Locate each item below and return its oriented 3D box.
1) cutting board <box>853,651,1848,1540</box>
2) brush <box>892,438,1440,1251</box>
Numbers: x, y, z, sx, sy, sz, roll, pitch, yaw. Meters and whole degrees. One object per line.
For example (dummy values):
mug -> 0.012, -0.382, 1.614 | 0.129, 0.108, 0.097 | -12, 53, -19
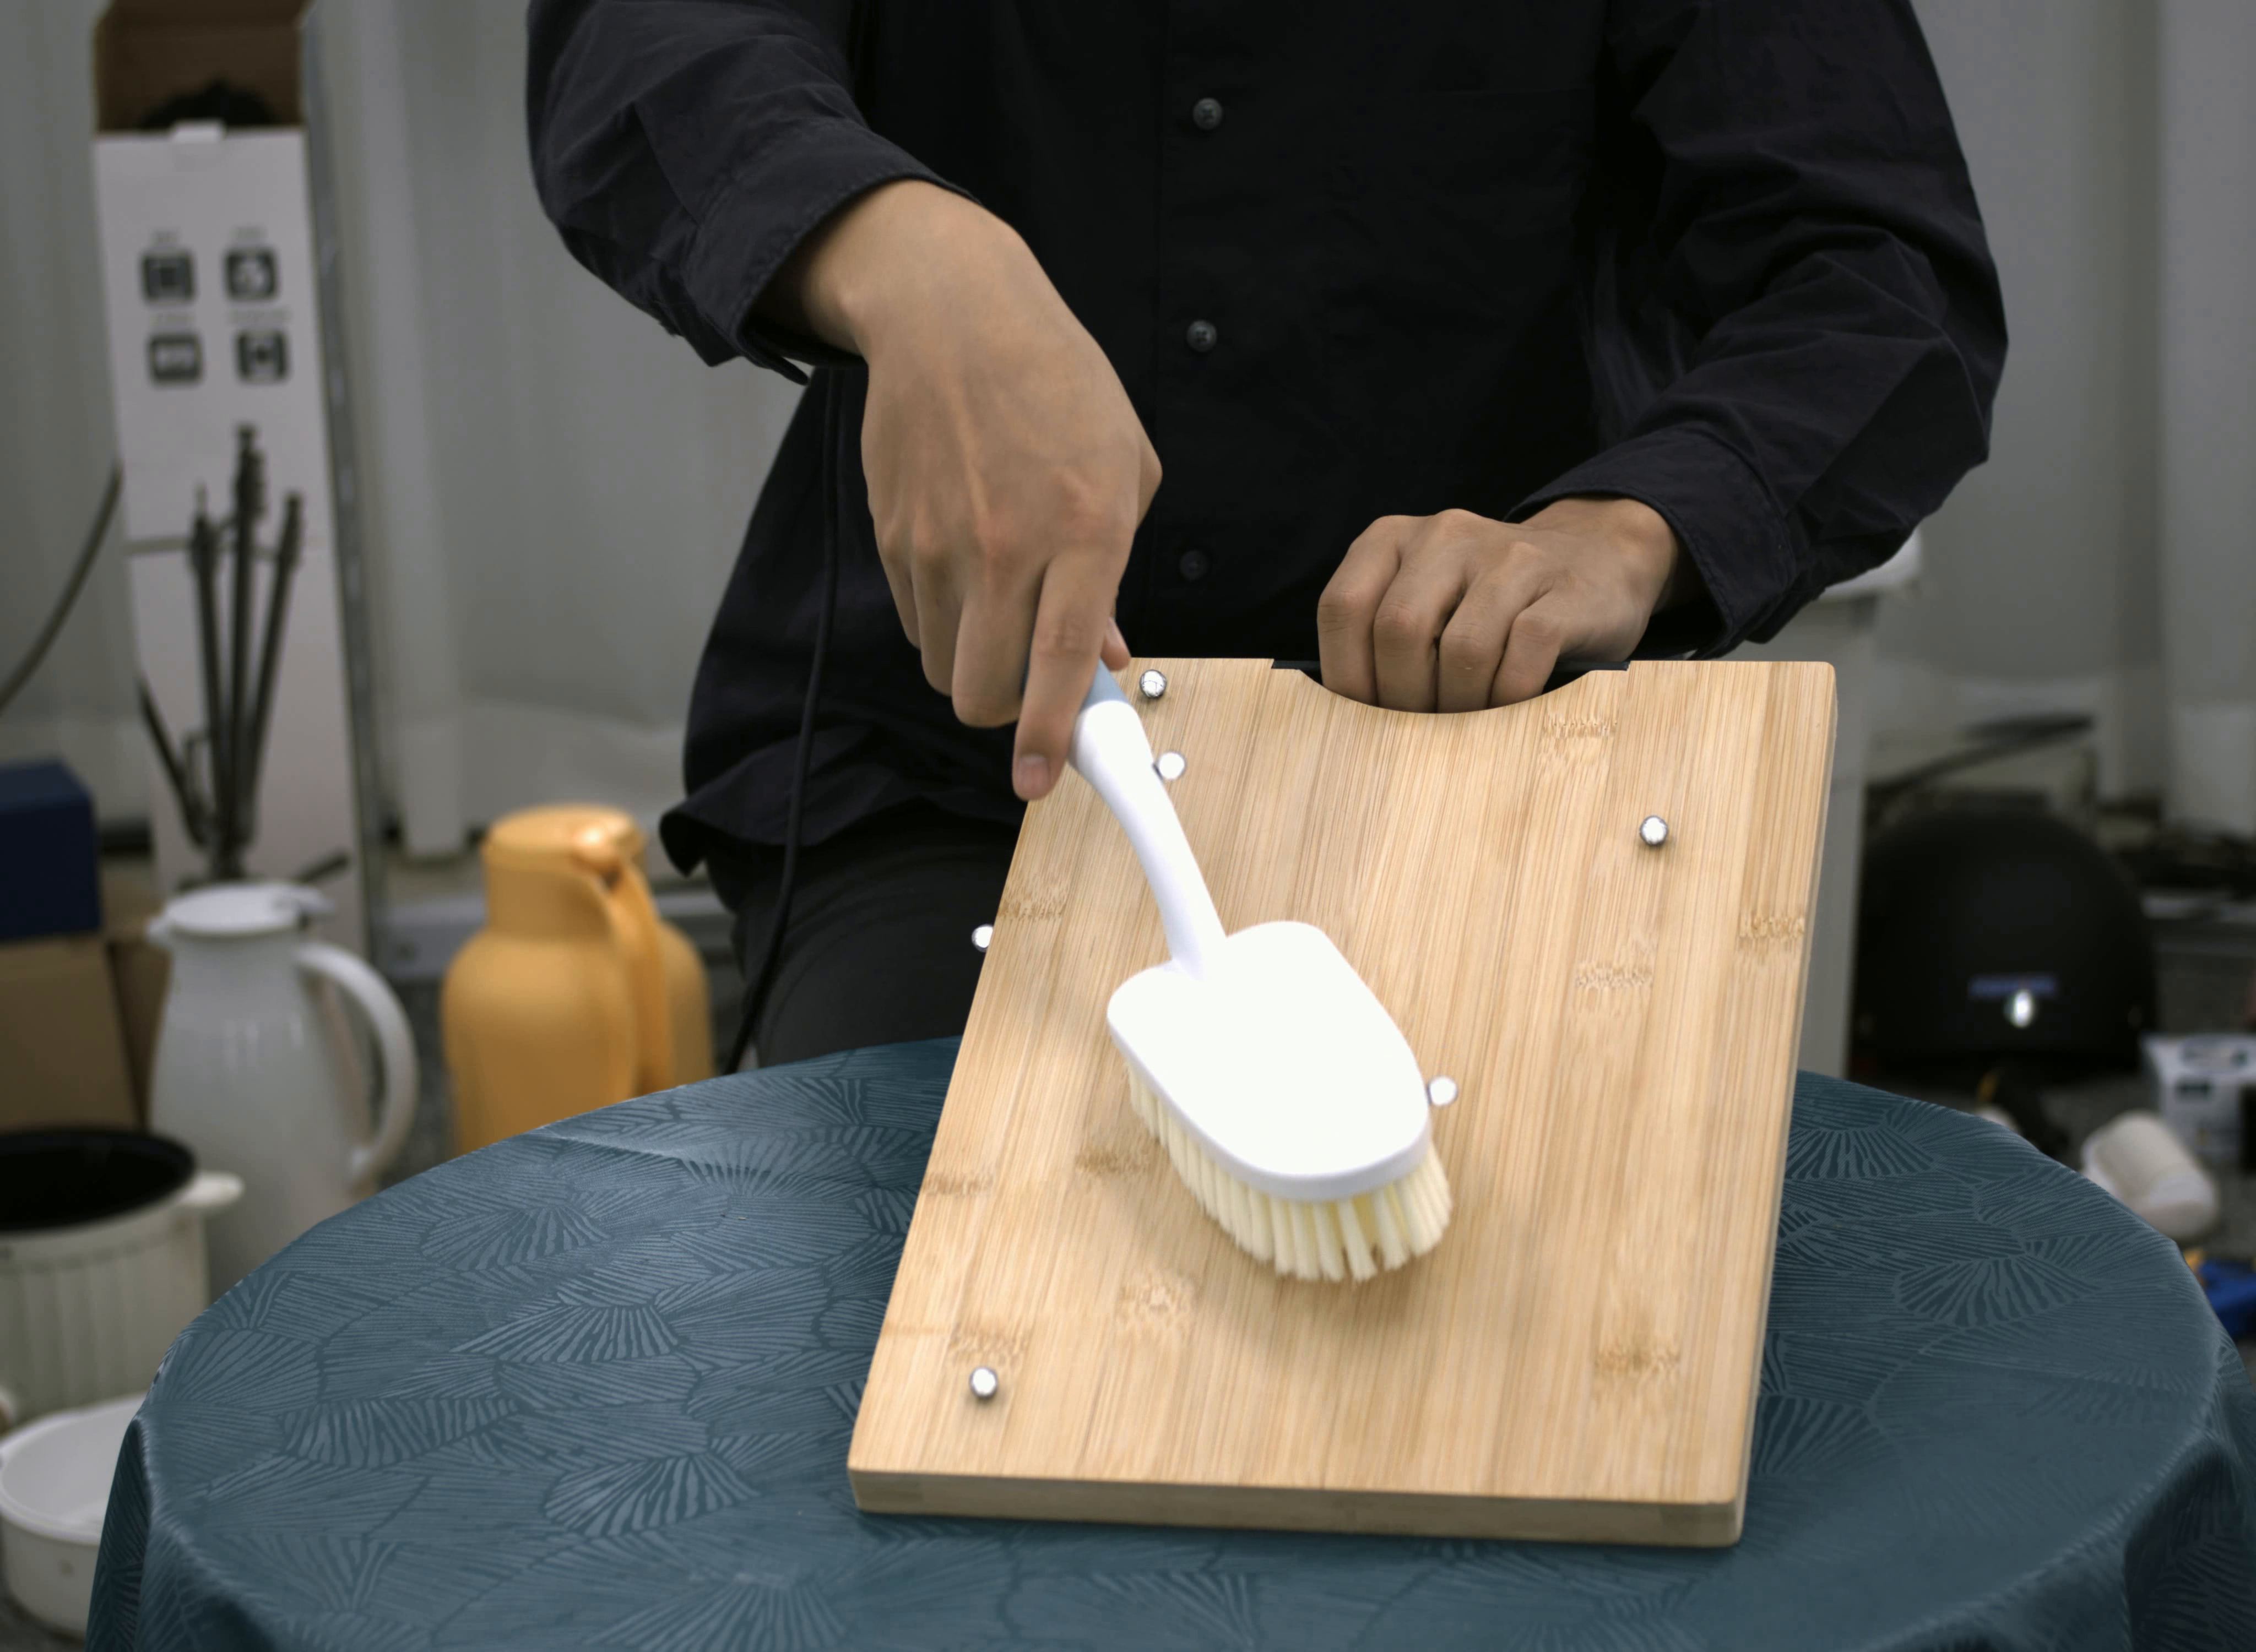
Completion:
cutting board -> 0.073, 0.067, 1.569 | 0.250, 0.023, 0.353 | 0, 41, 11
brush -> 0.008, 0.009, 1.583 | 0.082, 0.084, 0.330 | 10, 33, -37
